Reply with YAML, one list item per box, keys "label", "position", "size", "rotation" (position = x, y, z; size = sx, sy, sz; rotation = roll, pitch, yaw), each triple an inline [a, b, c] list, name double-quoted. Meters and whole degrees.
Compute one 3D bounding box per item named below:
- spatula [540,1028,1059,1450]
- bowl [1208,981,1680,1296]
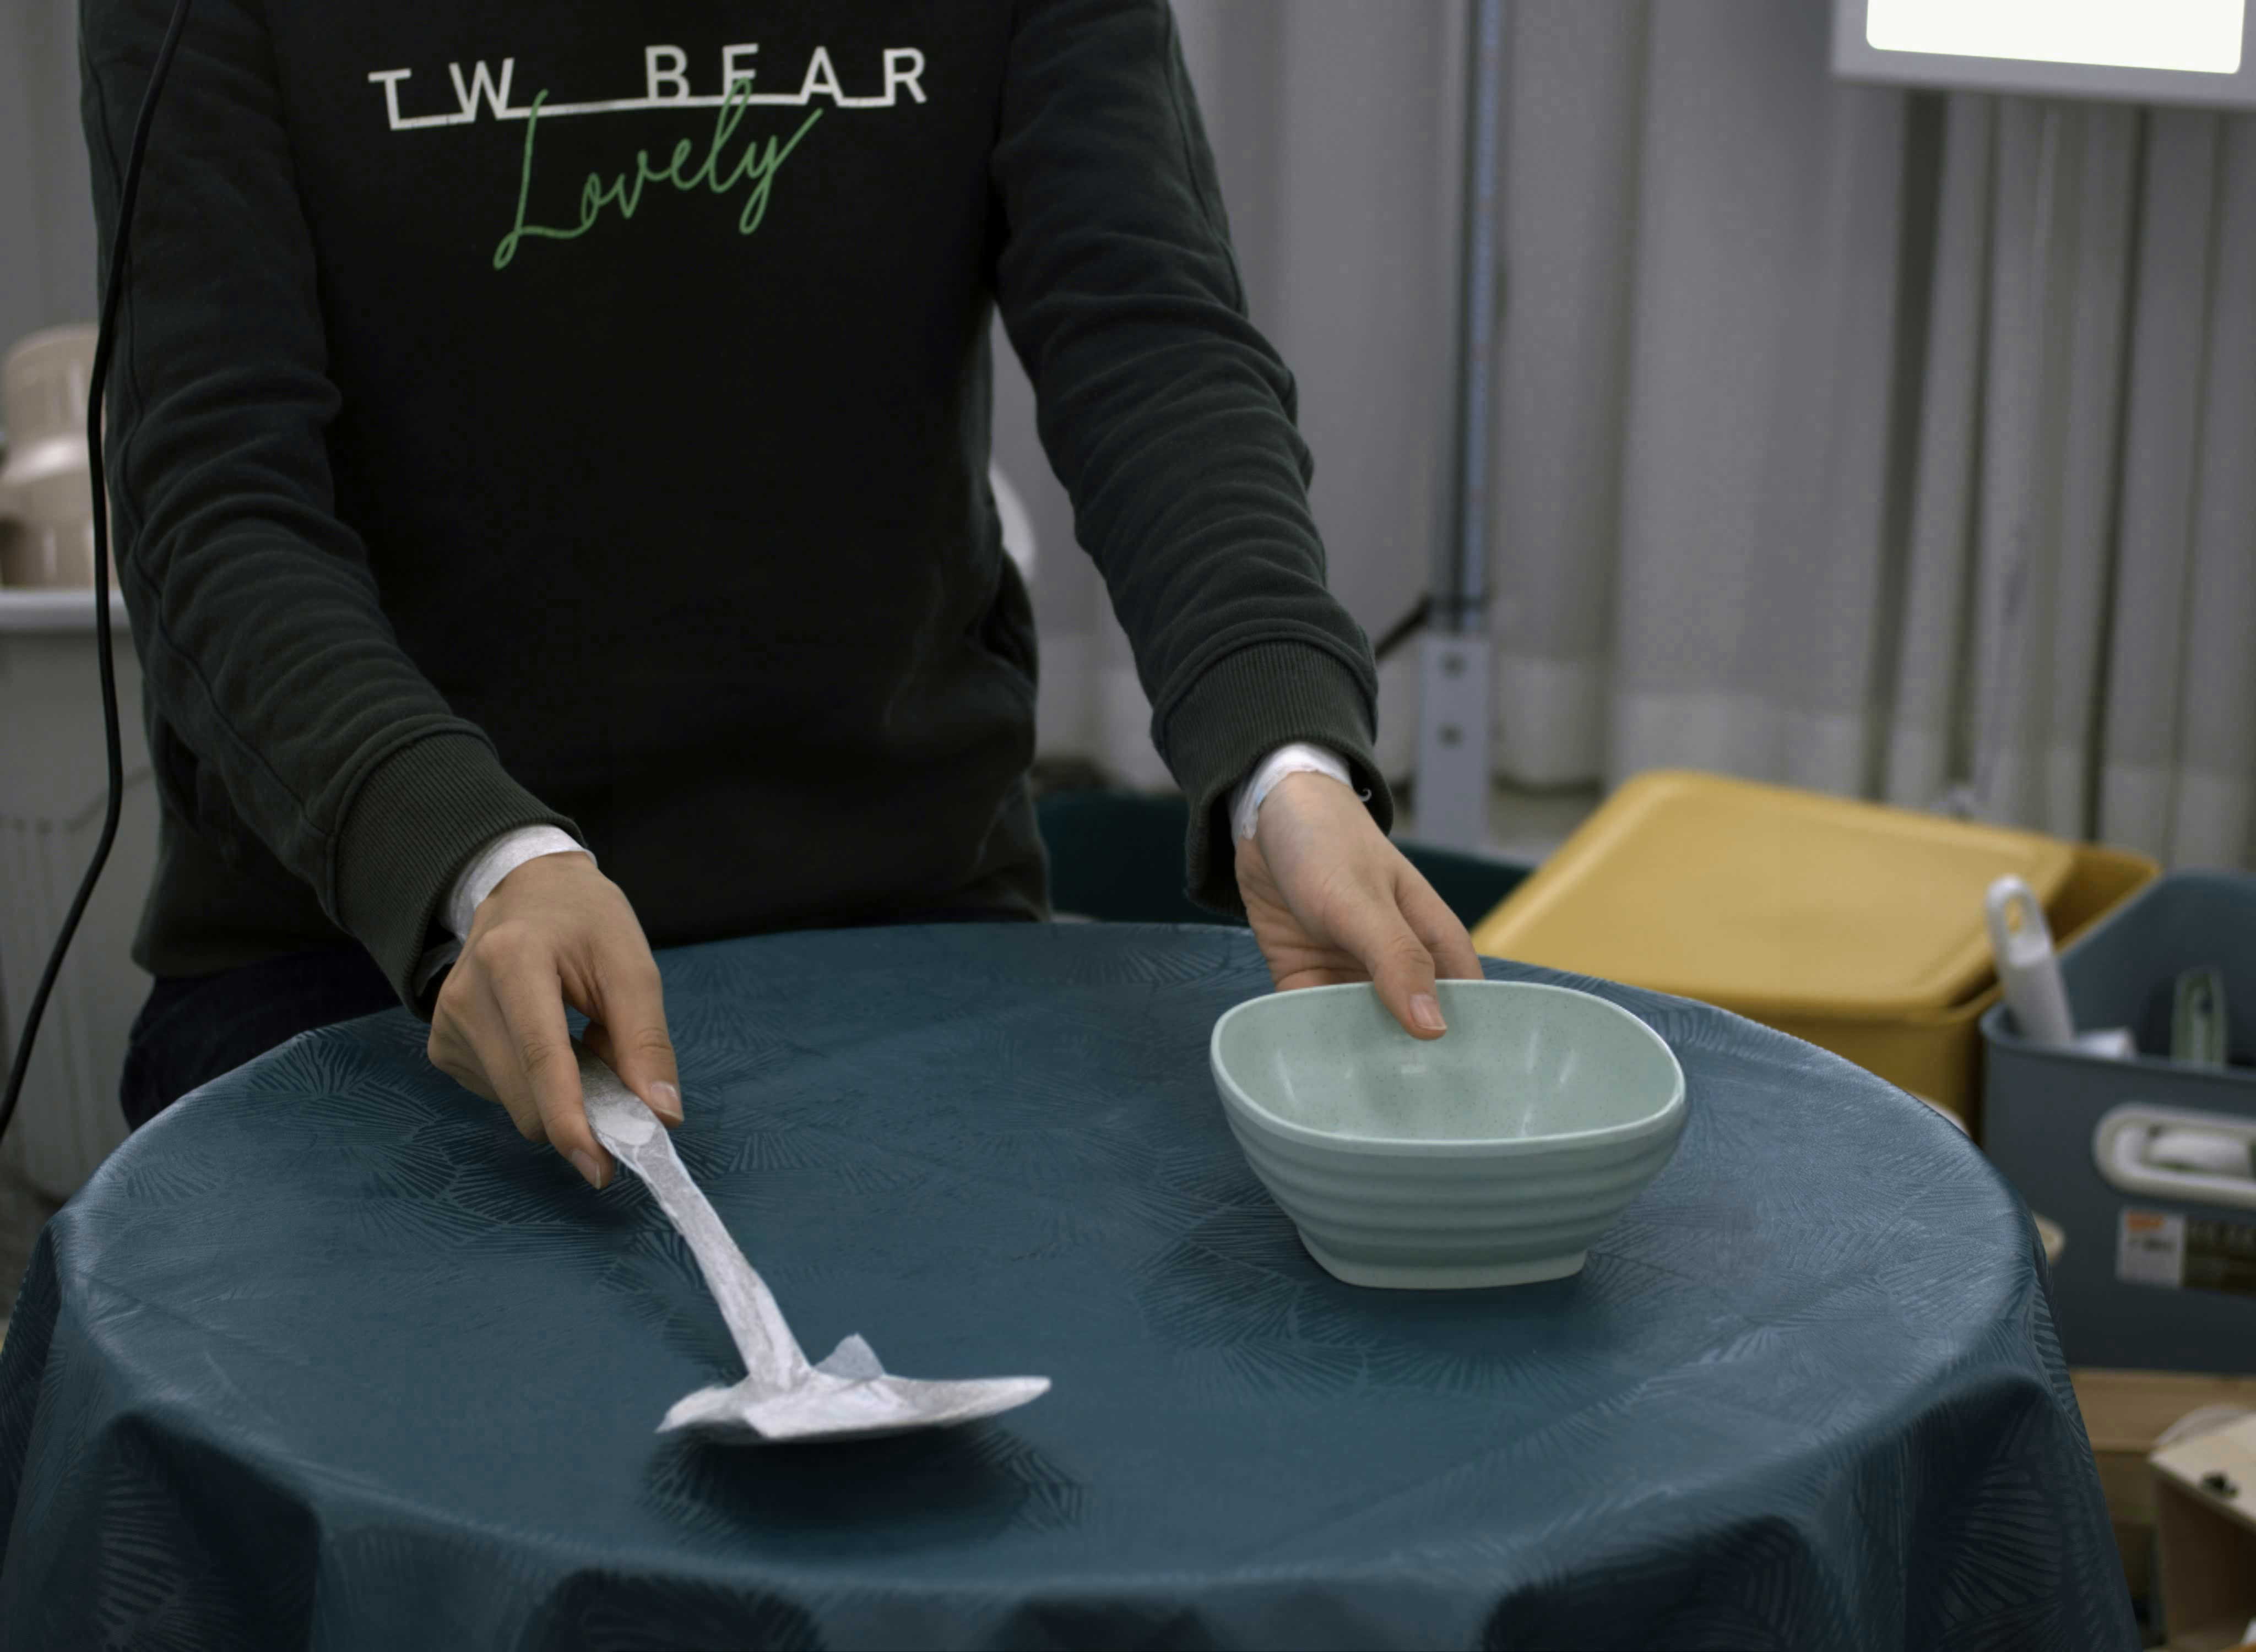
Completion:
- label: "spatula"
  position: [-0.121, 0.111, 1.522]
  size: [0.099, 0.045, 0.360]
  rotation: [-6, 23, -20]
- label: "bowl"
  position: [0.092, 0.098, 1.577]
  size: [0.151, 0.059, 0.150]
  rotation: [4, 19, -1]
